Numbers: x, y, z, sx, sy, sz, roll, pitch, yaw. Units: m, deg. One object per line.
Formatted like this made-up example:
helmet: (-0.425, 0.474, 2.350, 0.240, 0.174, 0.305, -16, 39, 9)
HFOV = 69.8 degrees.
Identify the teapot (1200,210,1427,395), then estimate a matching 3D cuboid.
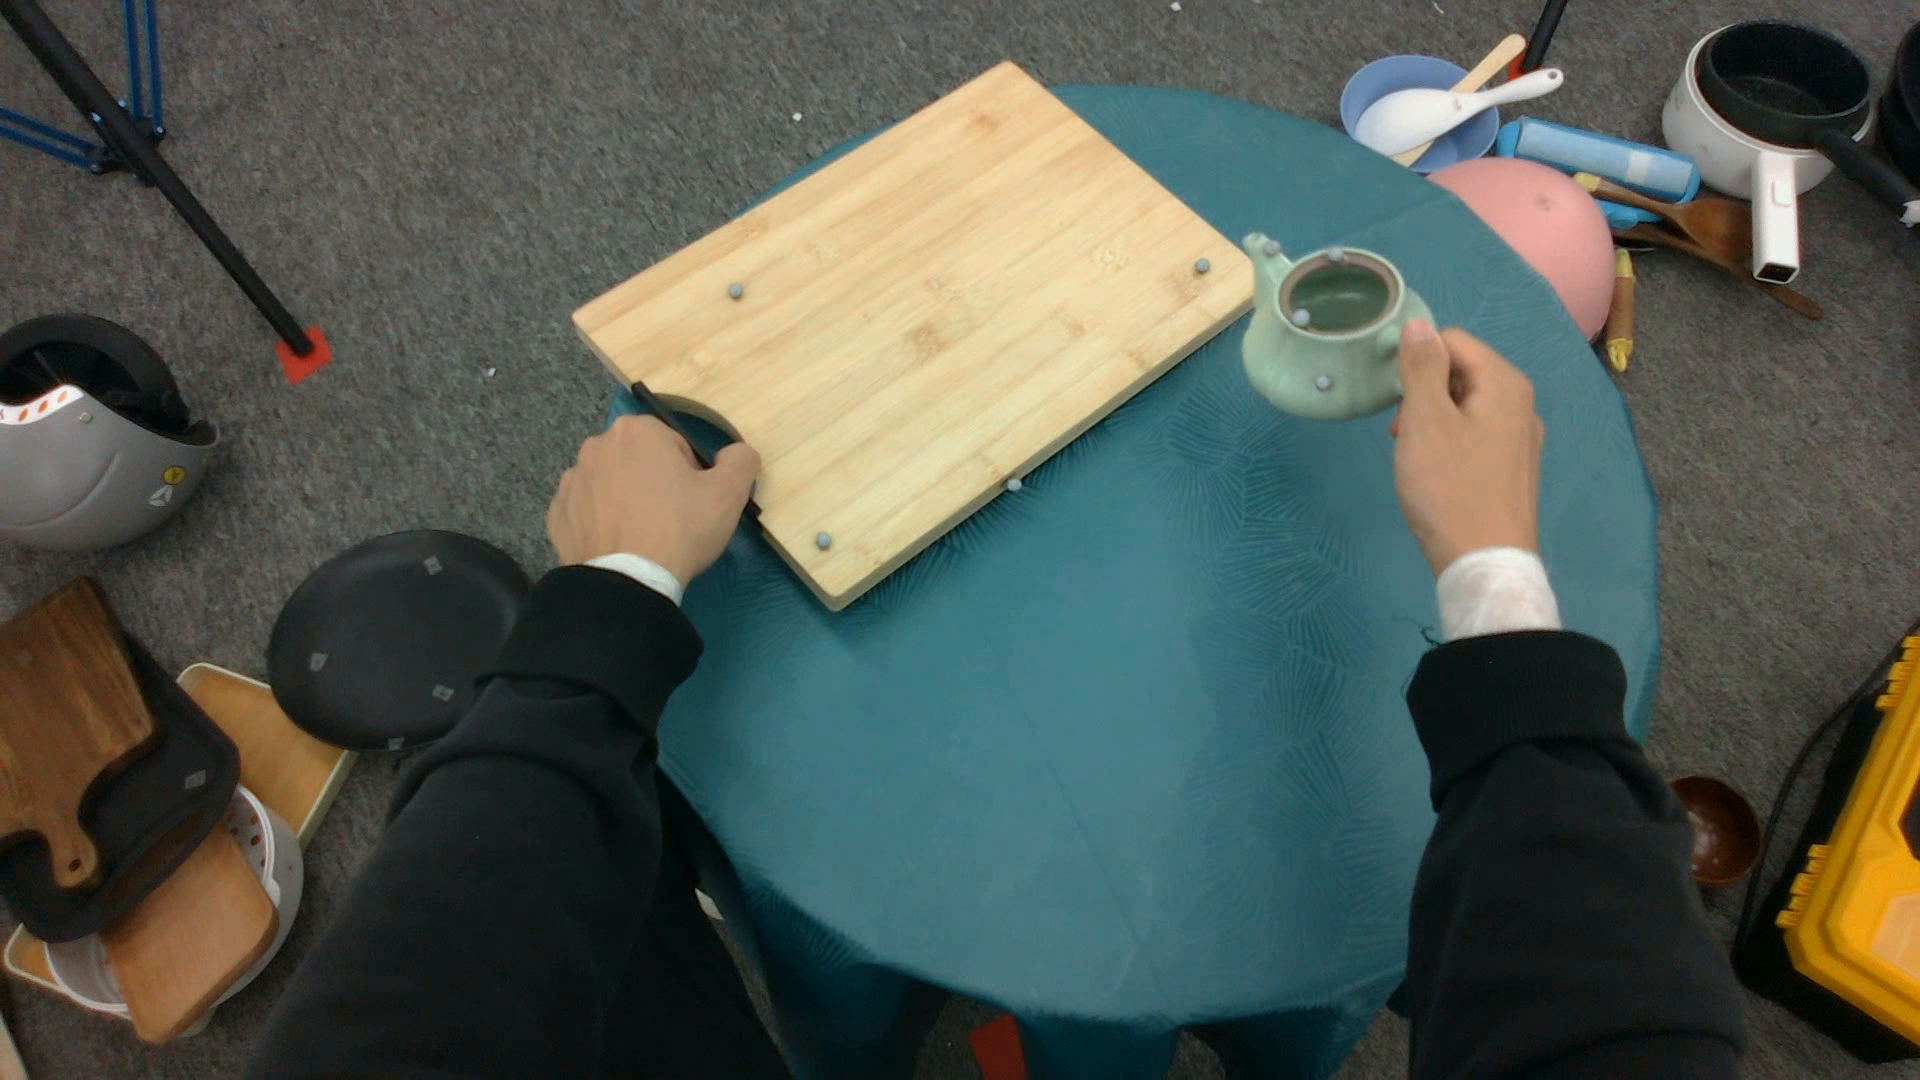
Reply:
teapot: (0.179, -0.120, 0.702, 0.096, 0.061, 0.137, -40, 55, -15)

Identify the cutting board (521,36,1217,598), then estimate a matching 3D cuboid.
cutting board: (-0.039, -0.149, 0.810, 0.350, 0.023, 0.251, -39, 70, -22)
